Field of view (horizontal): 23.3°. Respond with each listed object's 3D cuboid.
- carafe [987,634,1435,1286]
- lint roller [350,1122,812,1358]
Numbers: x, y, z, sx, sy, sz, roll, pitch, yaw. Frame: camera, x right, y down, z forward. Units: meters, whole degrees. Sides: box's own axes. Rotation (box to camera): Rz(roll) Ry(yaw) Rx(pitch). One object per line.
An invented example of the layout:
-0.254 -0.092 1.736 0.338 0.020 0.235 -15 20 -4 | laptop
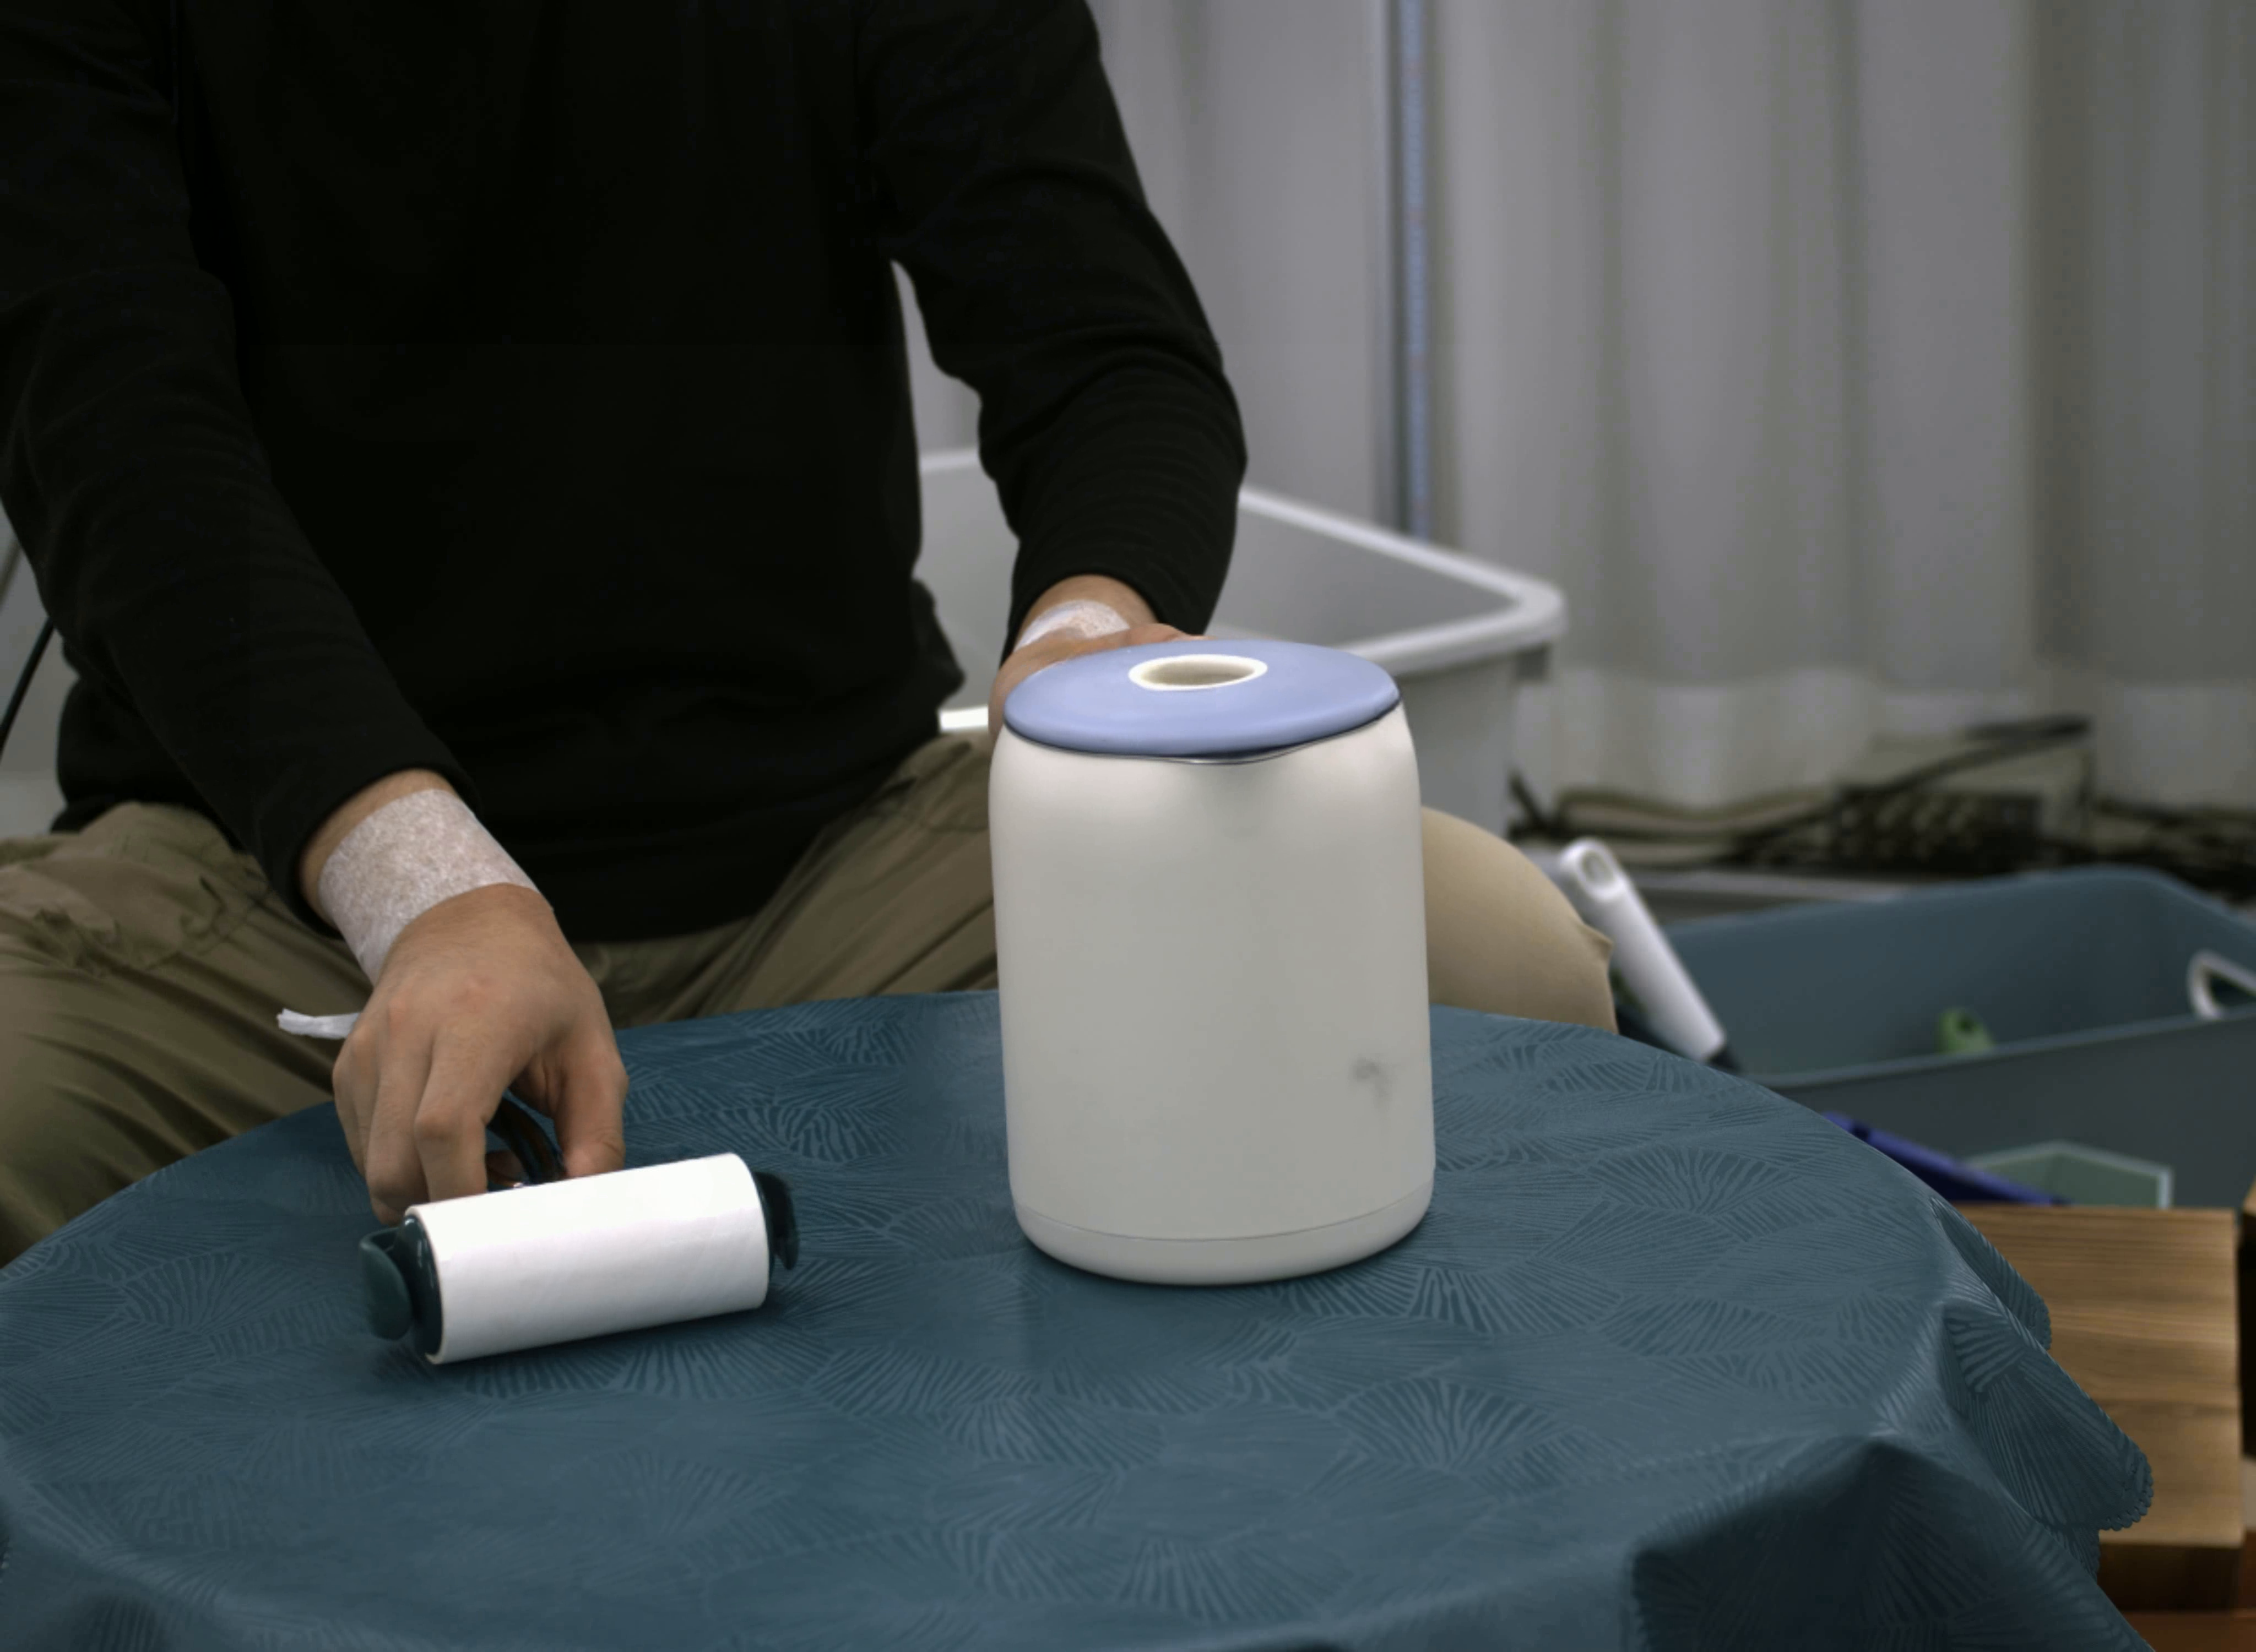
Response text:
0.021 0.034 1.683 0.131 0.182 0.192 -5 12 -10 | carafe
-0.187 0.105 1.666 0.134 0.048 0.182 -8 21 -21 | lint roller
